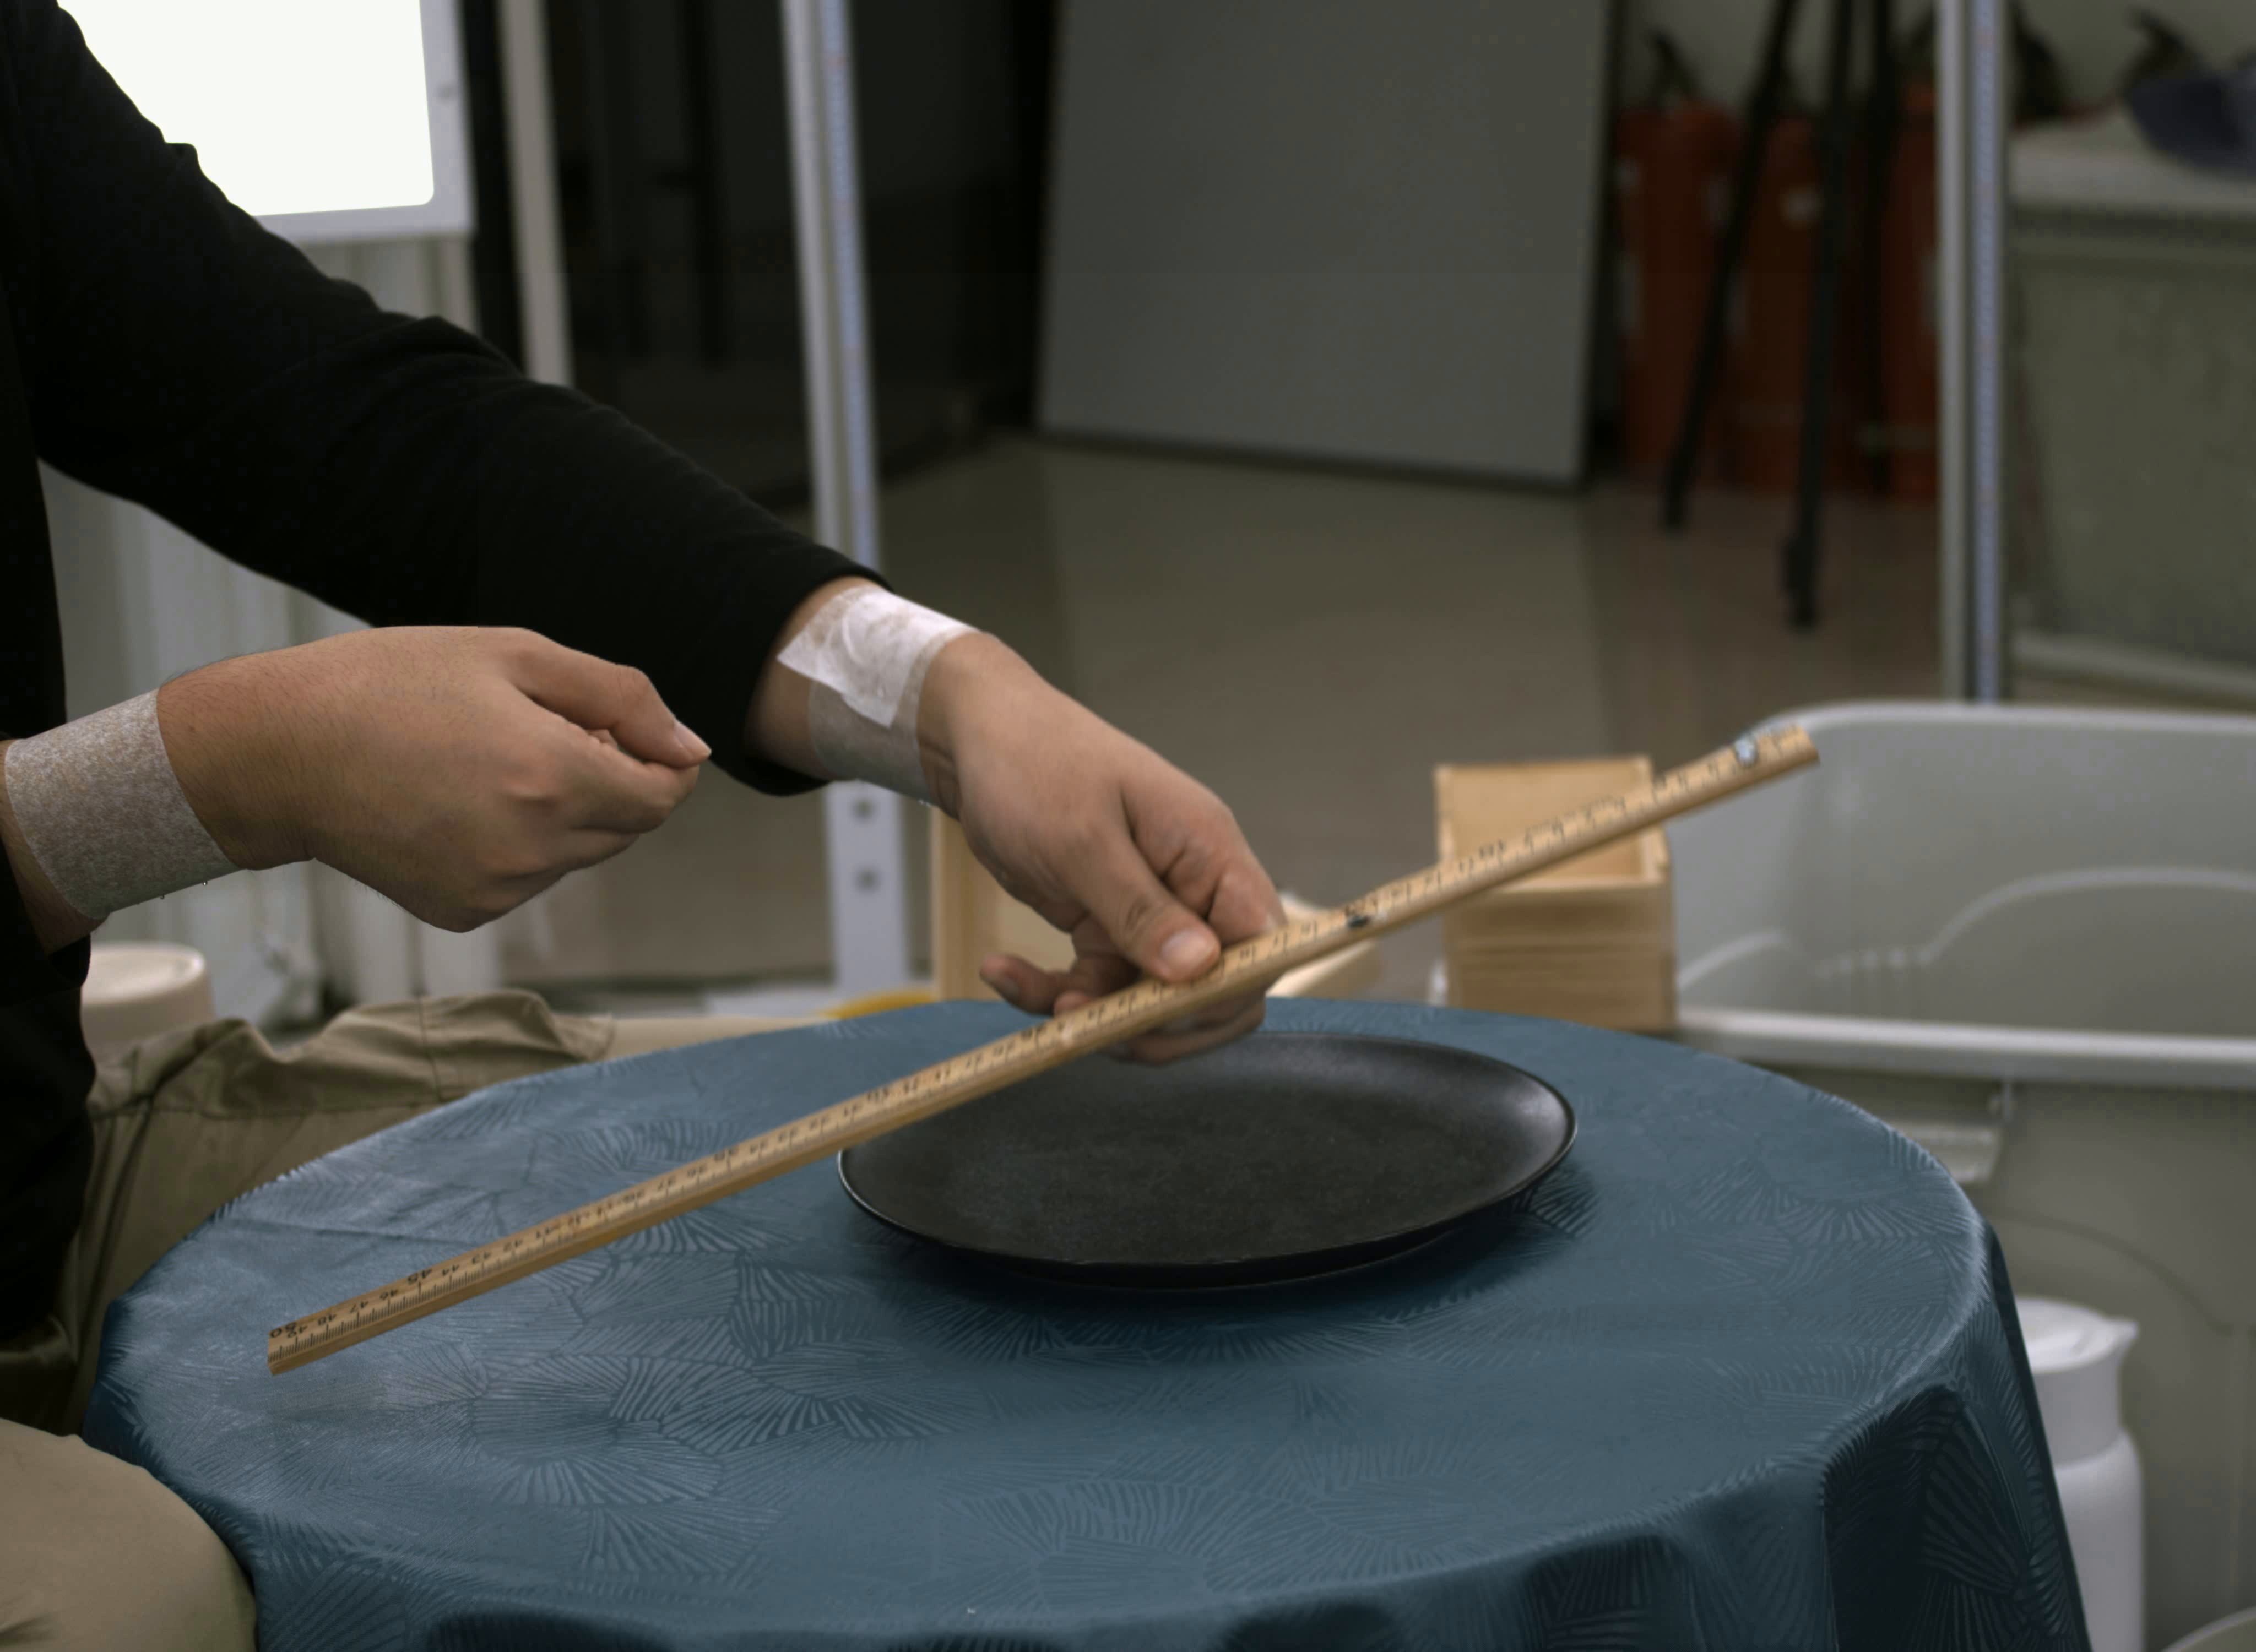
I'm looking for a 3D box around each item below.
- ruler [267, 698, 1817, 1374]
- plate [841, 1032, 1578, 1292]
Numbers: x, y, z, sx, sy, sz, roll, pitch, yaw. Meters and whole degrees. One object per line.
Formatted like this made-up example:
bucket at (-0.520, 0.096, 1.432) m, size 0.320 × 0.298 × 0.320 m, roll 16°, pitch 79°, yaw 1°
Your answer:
ruler at (-0.026, 0.061, 1.607) m, size 0.496 × 0.006 × 0.027 m, roll -23°, pitch 19°, yaw 1°
plate at (0.027, 0.111, 1.752) m, size 0.241 × 0.024 × 0.245 m, roll -4°, pitch 14°, yaw 0°
